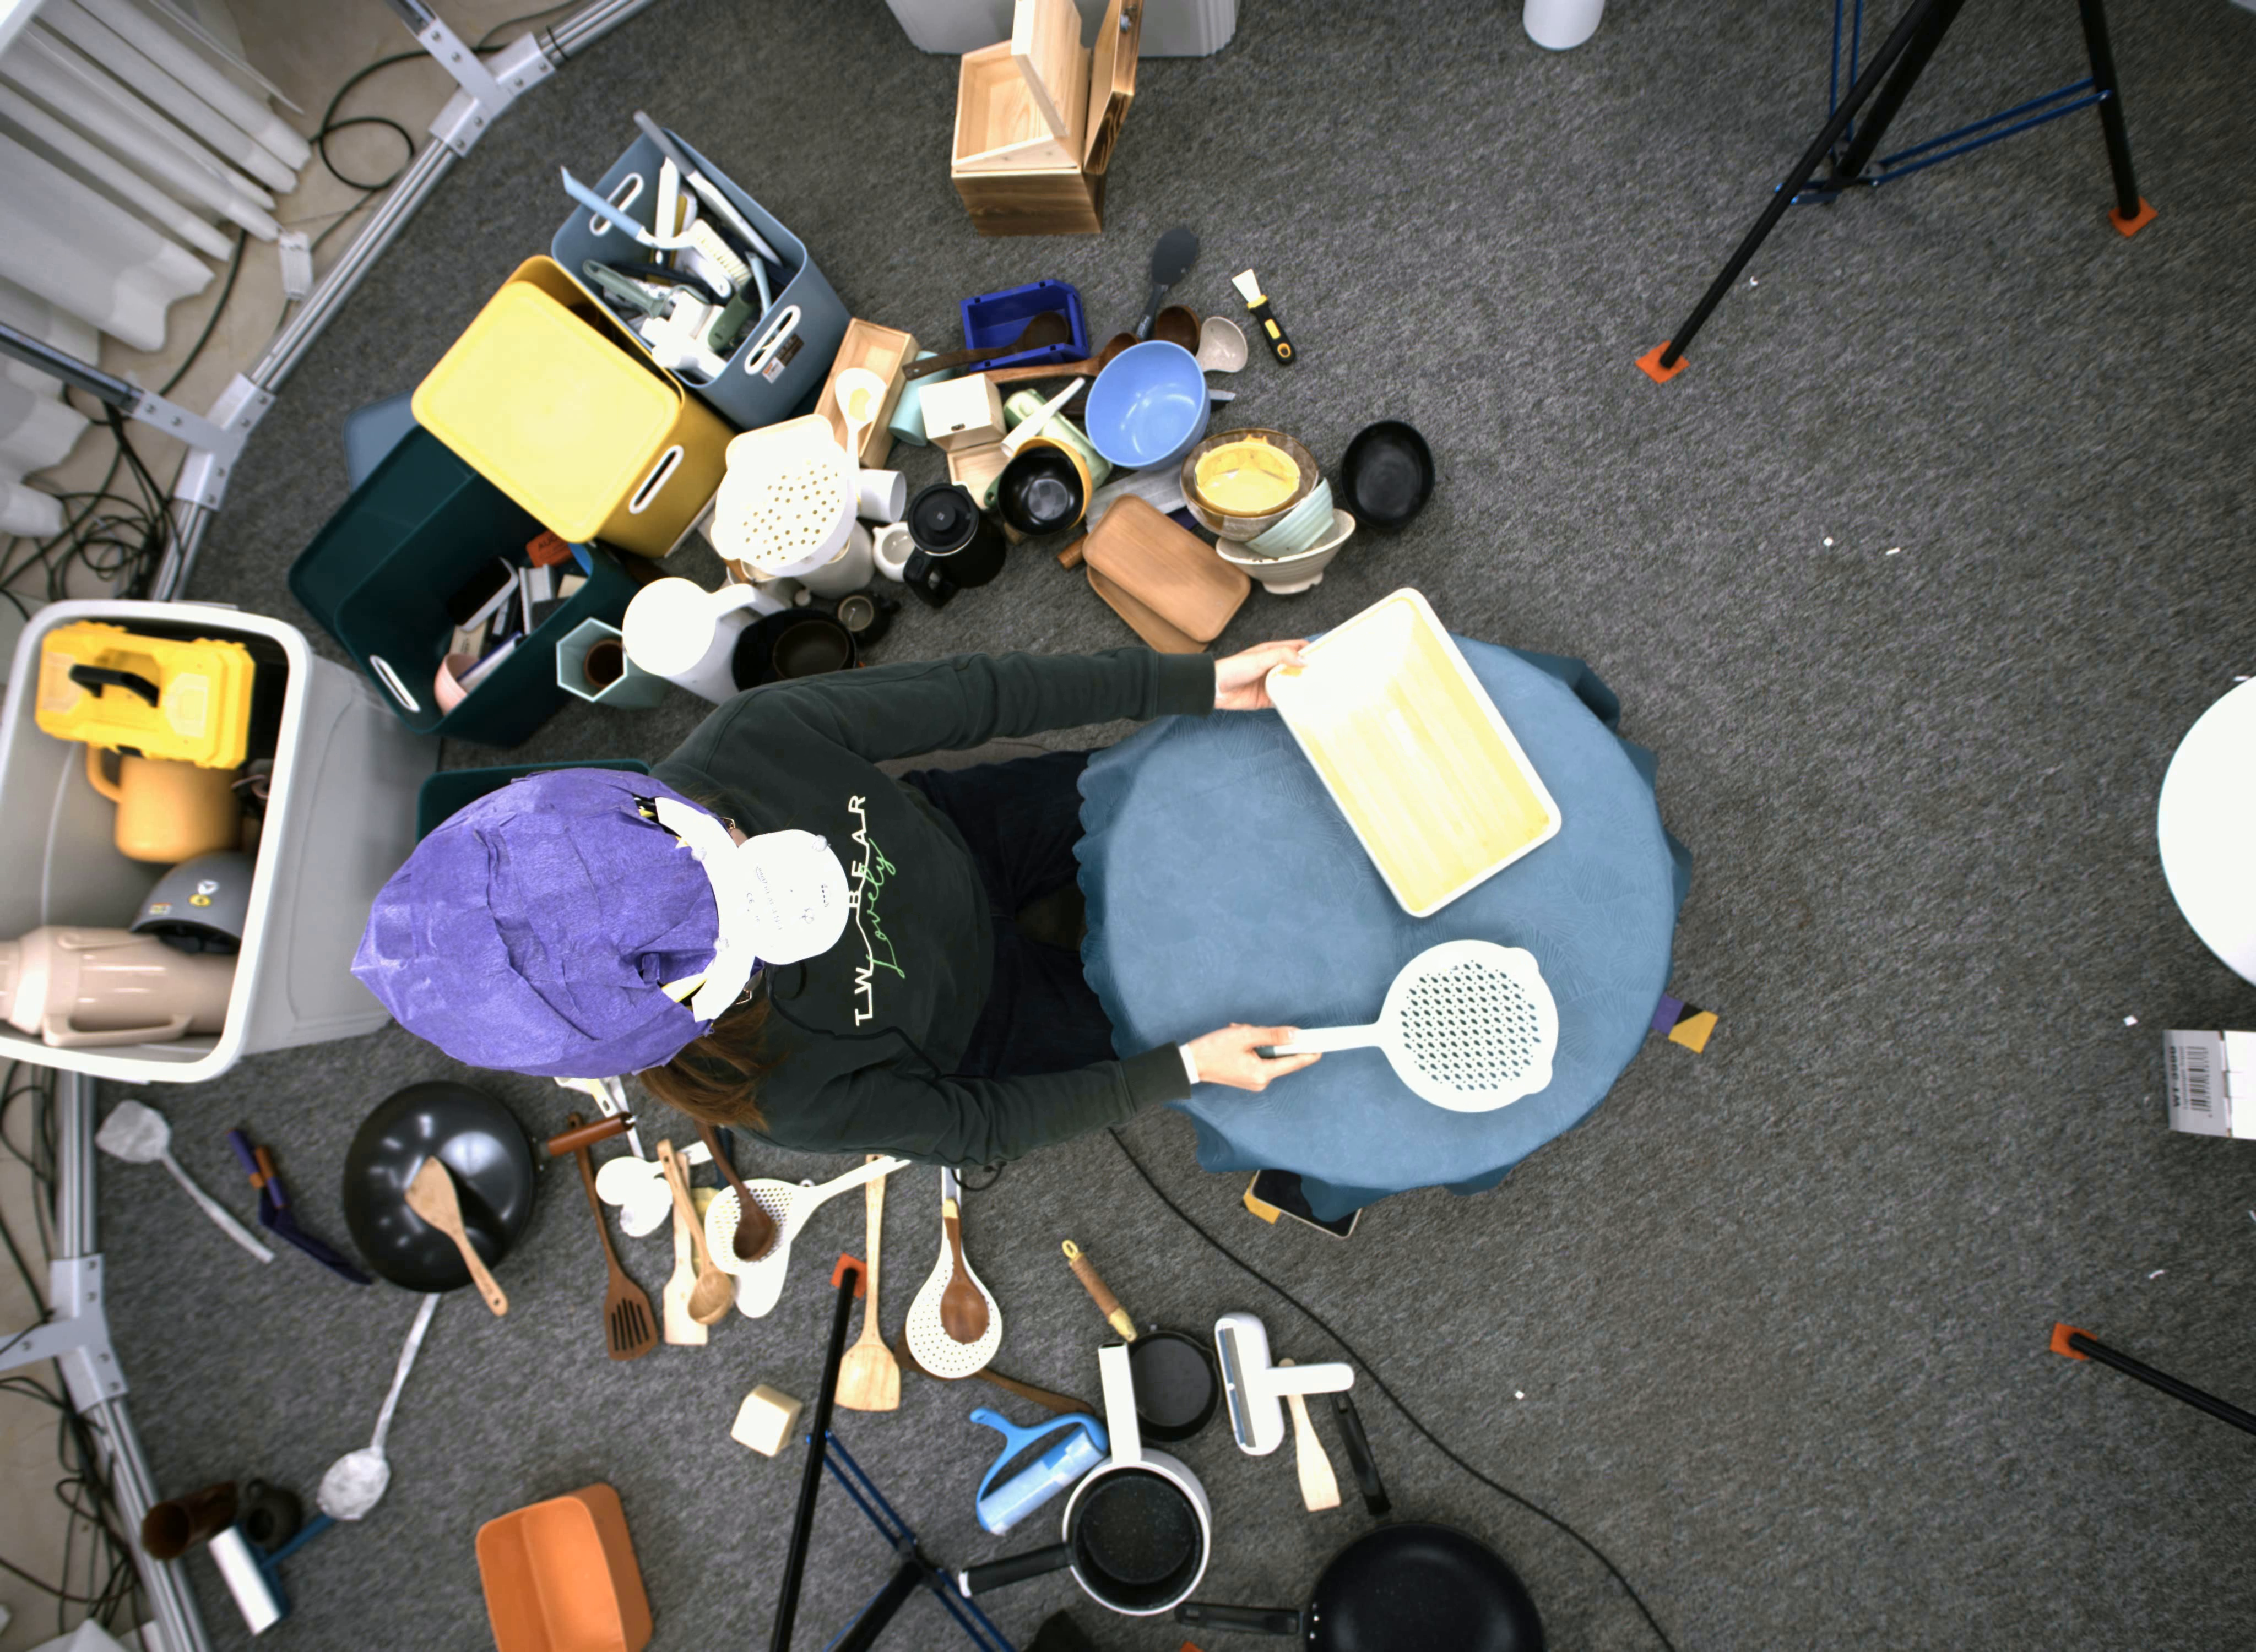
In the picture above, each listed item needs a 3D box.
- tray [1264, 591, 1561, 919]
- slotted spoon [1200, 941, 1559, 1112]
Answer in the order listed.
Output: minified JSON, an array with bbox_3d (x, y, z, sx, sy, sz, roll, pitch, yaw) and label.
[{"bbox_3d":[0.294,-0.075,1.424,0.191,0.027,0.300,-32,90,-1],"label":"tray"},{"bbox_3d":[0.250,0.212,1.406,0.360,0.076,0.167,-6,79,6],"label":"slotted spoon"}]
